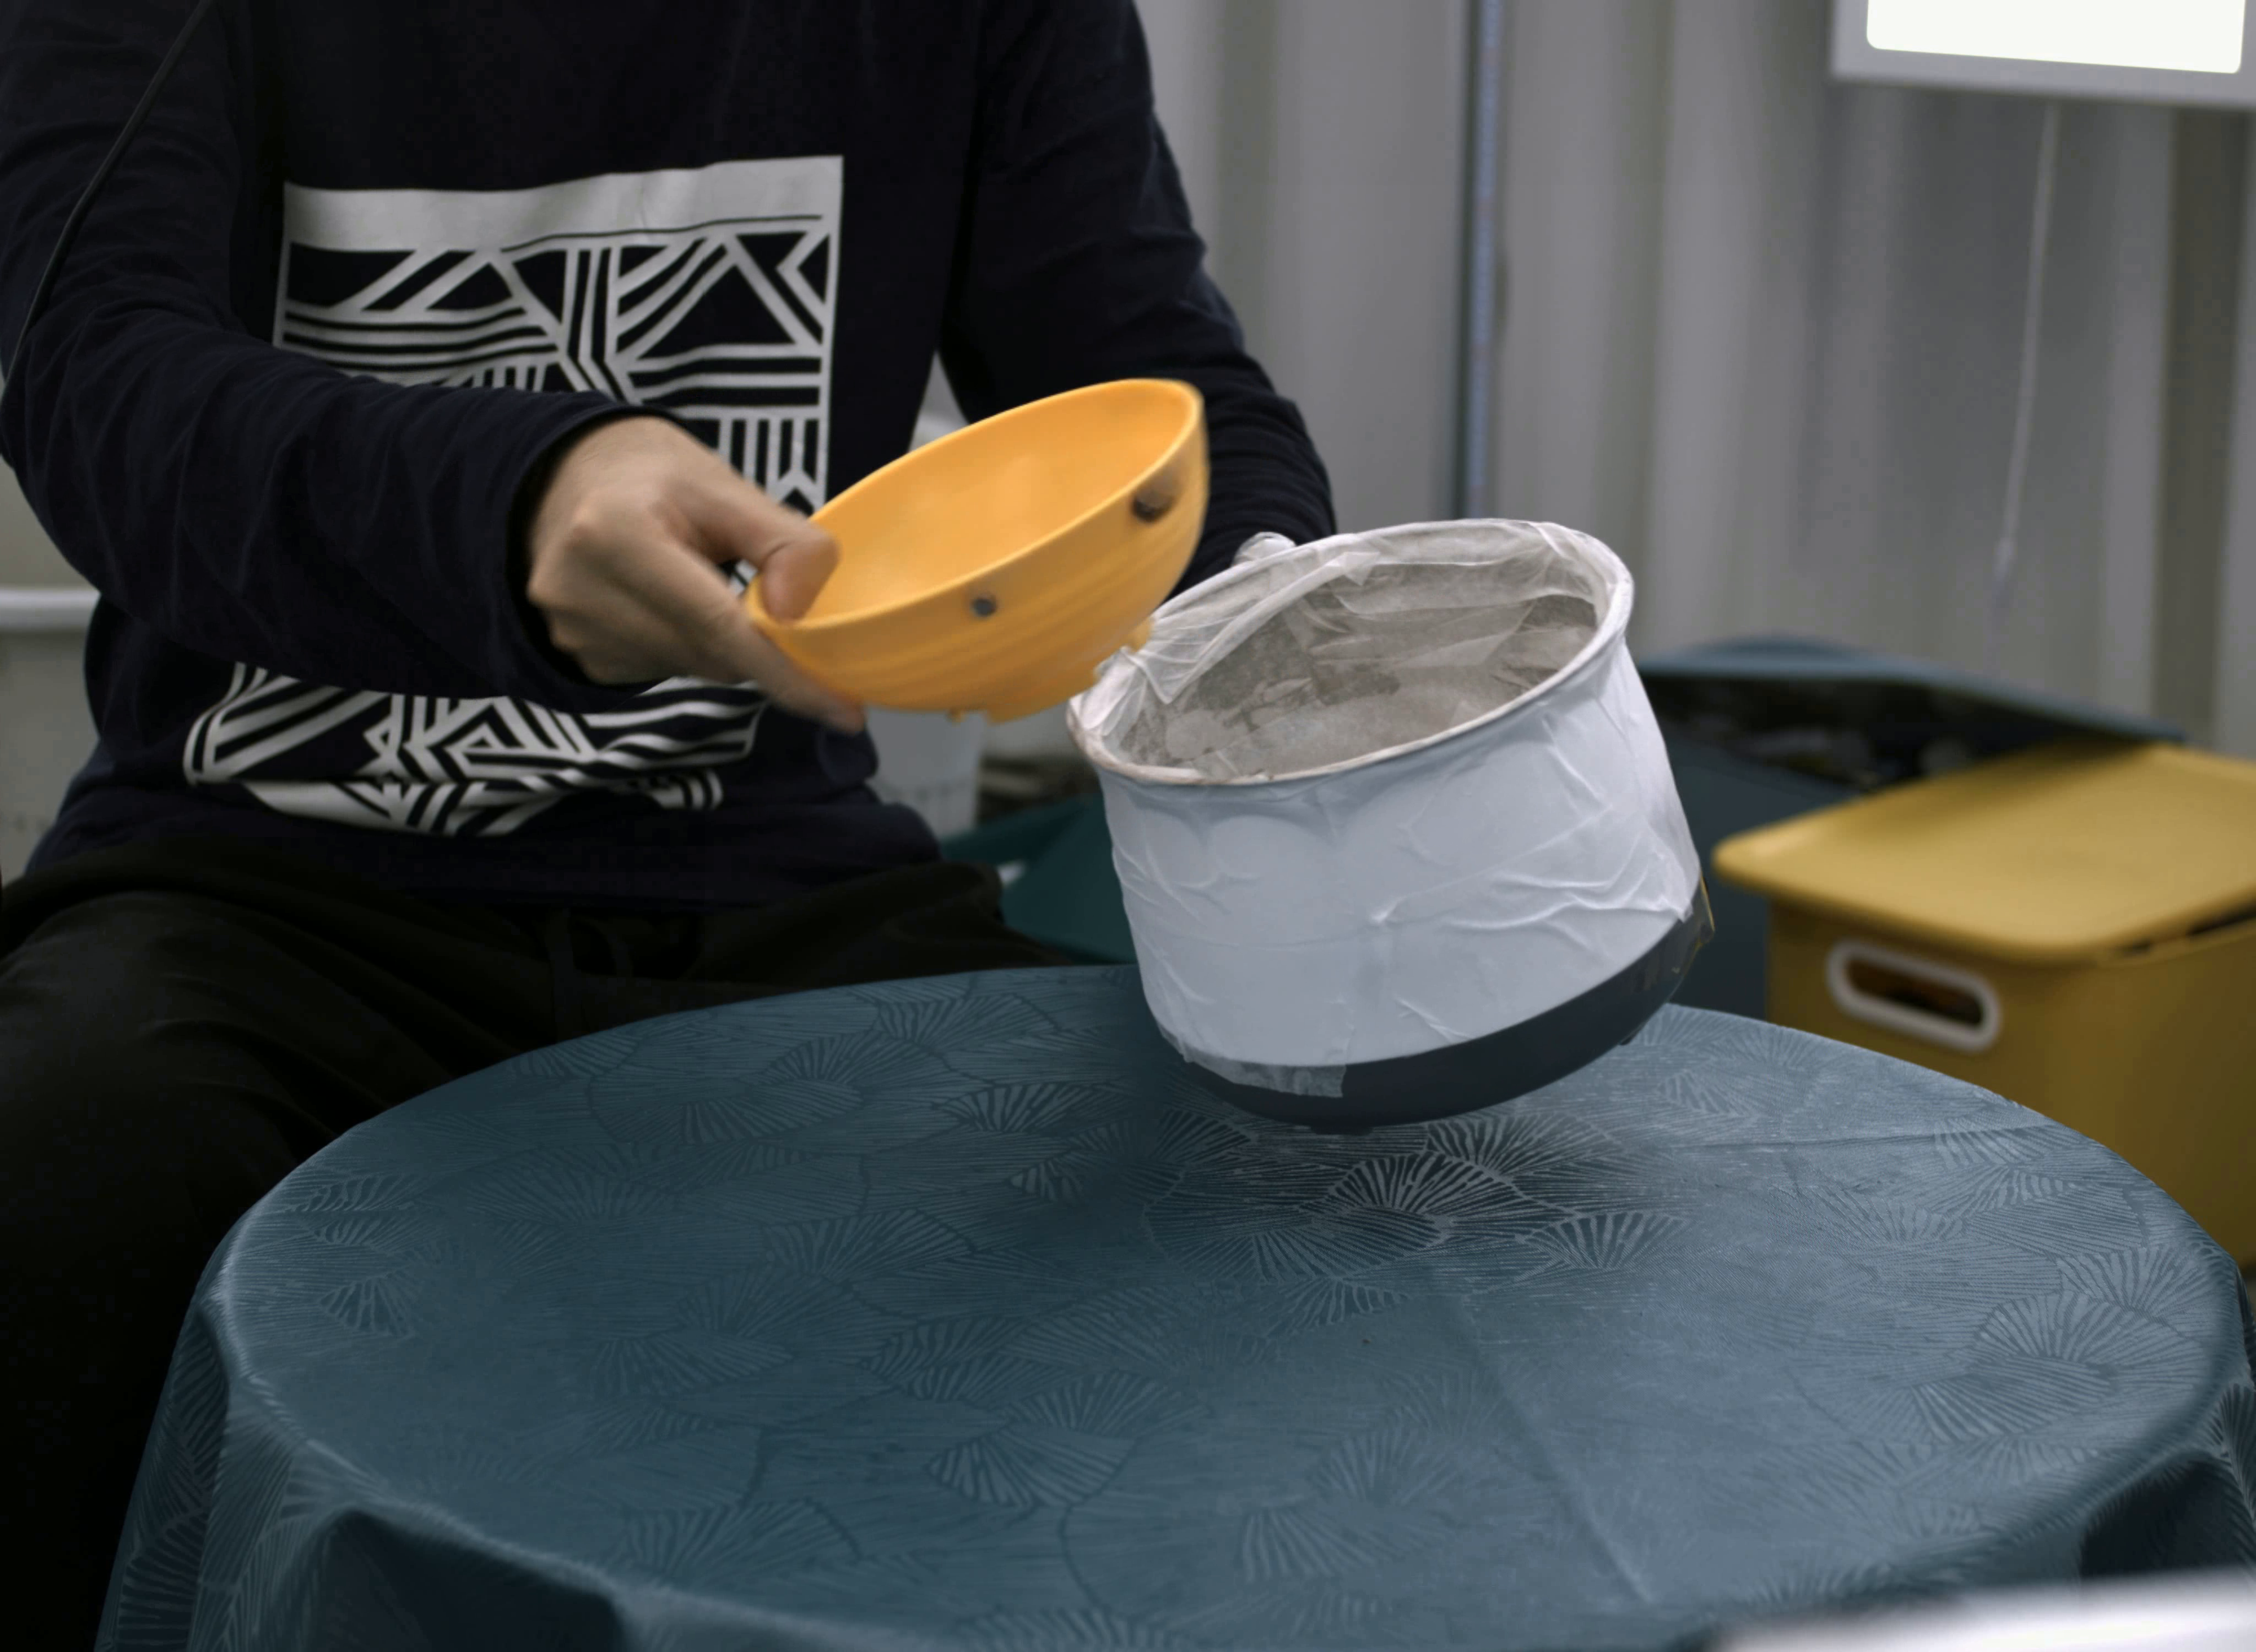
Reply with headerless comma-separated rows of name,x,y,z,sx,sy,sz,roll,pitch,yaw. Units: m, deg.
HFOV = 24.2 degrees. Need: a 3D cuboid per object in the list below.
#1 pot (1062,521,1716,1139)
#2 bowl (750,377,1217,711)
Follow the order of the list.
pot,0.076,-0.007,1.644,0.178,0.138,0.231,-20,22,-7
bowl,-0.033,-0.074,1.533,0.145,0.061,0.144,-20,19,8
